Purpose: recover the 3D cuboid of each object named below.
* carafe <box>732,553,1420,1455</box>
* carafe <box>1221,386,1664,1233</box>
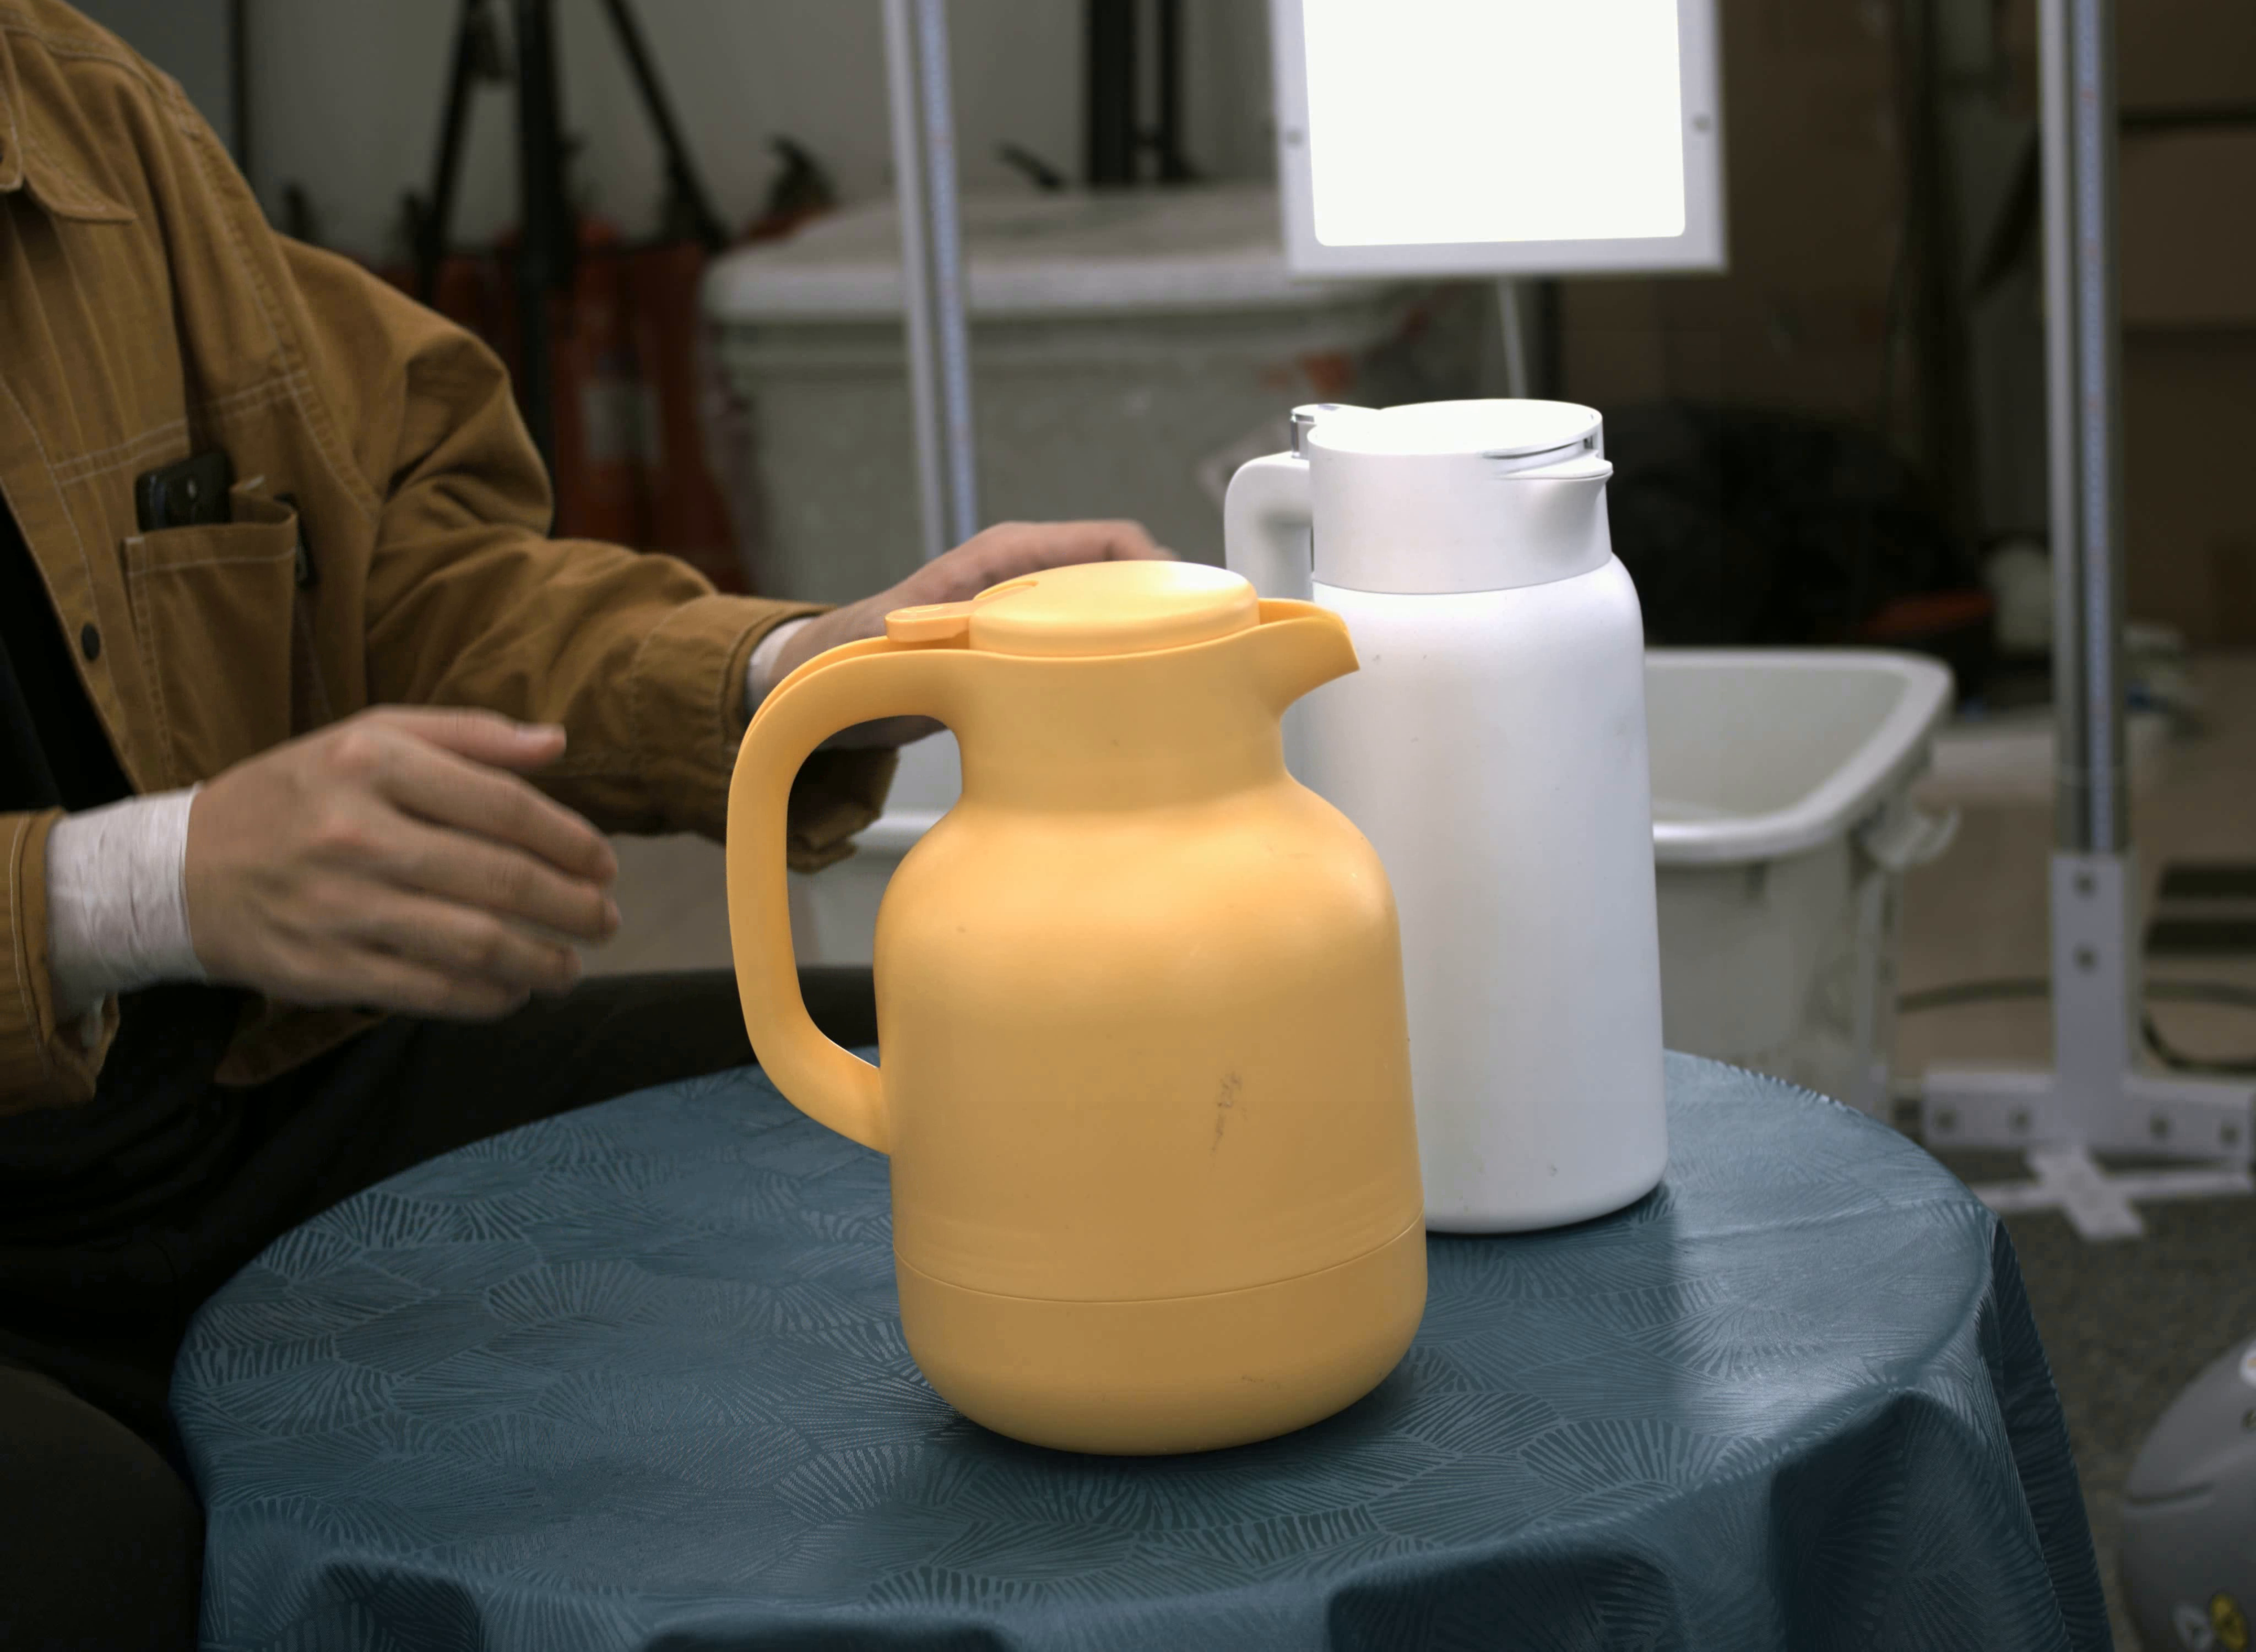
[{"bbox_3d":[-0.016,0.050,1.666,0.202,0.261,0.162,-3,12,4],"label":"carafe"},{"bbox_3d":[0.103,-0.008,1.846,0.121,0.270,0.176,-18,19,-38],"label":"carafe"}]
